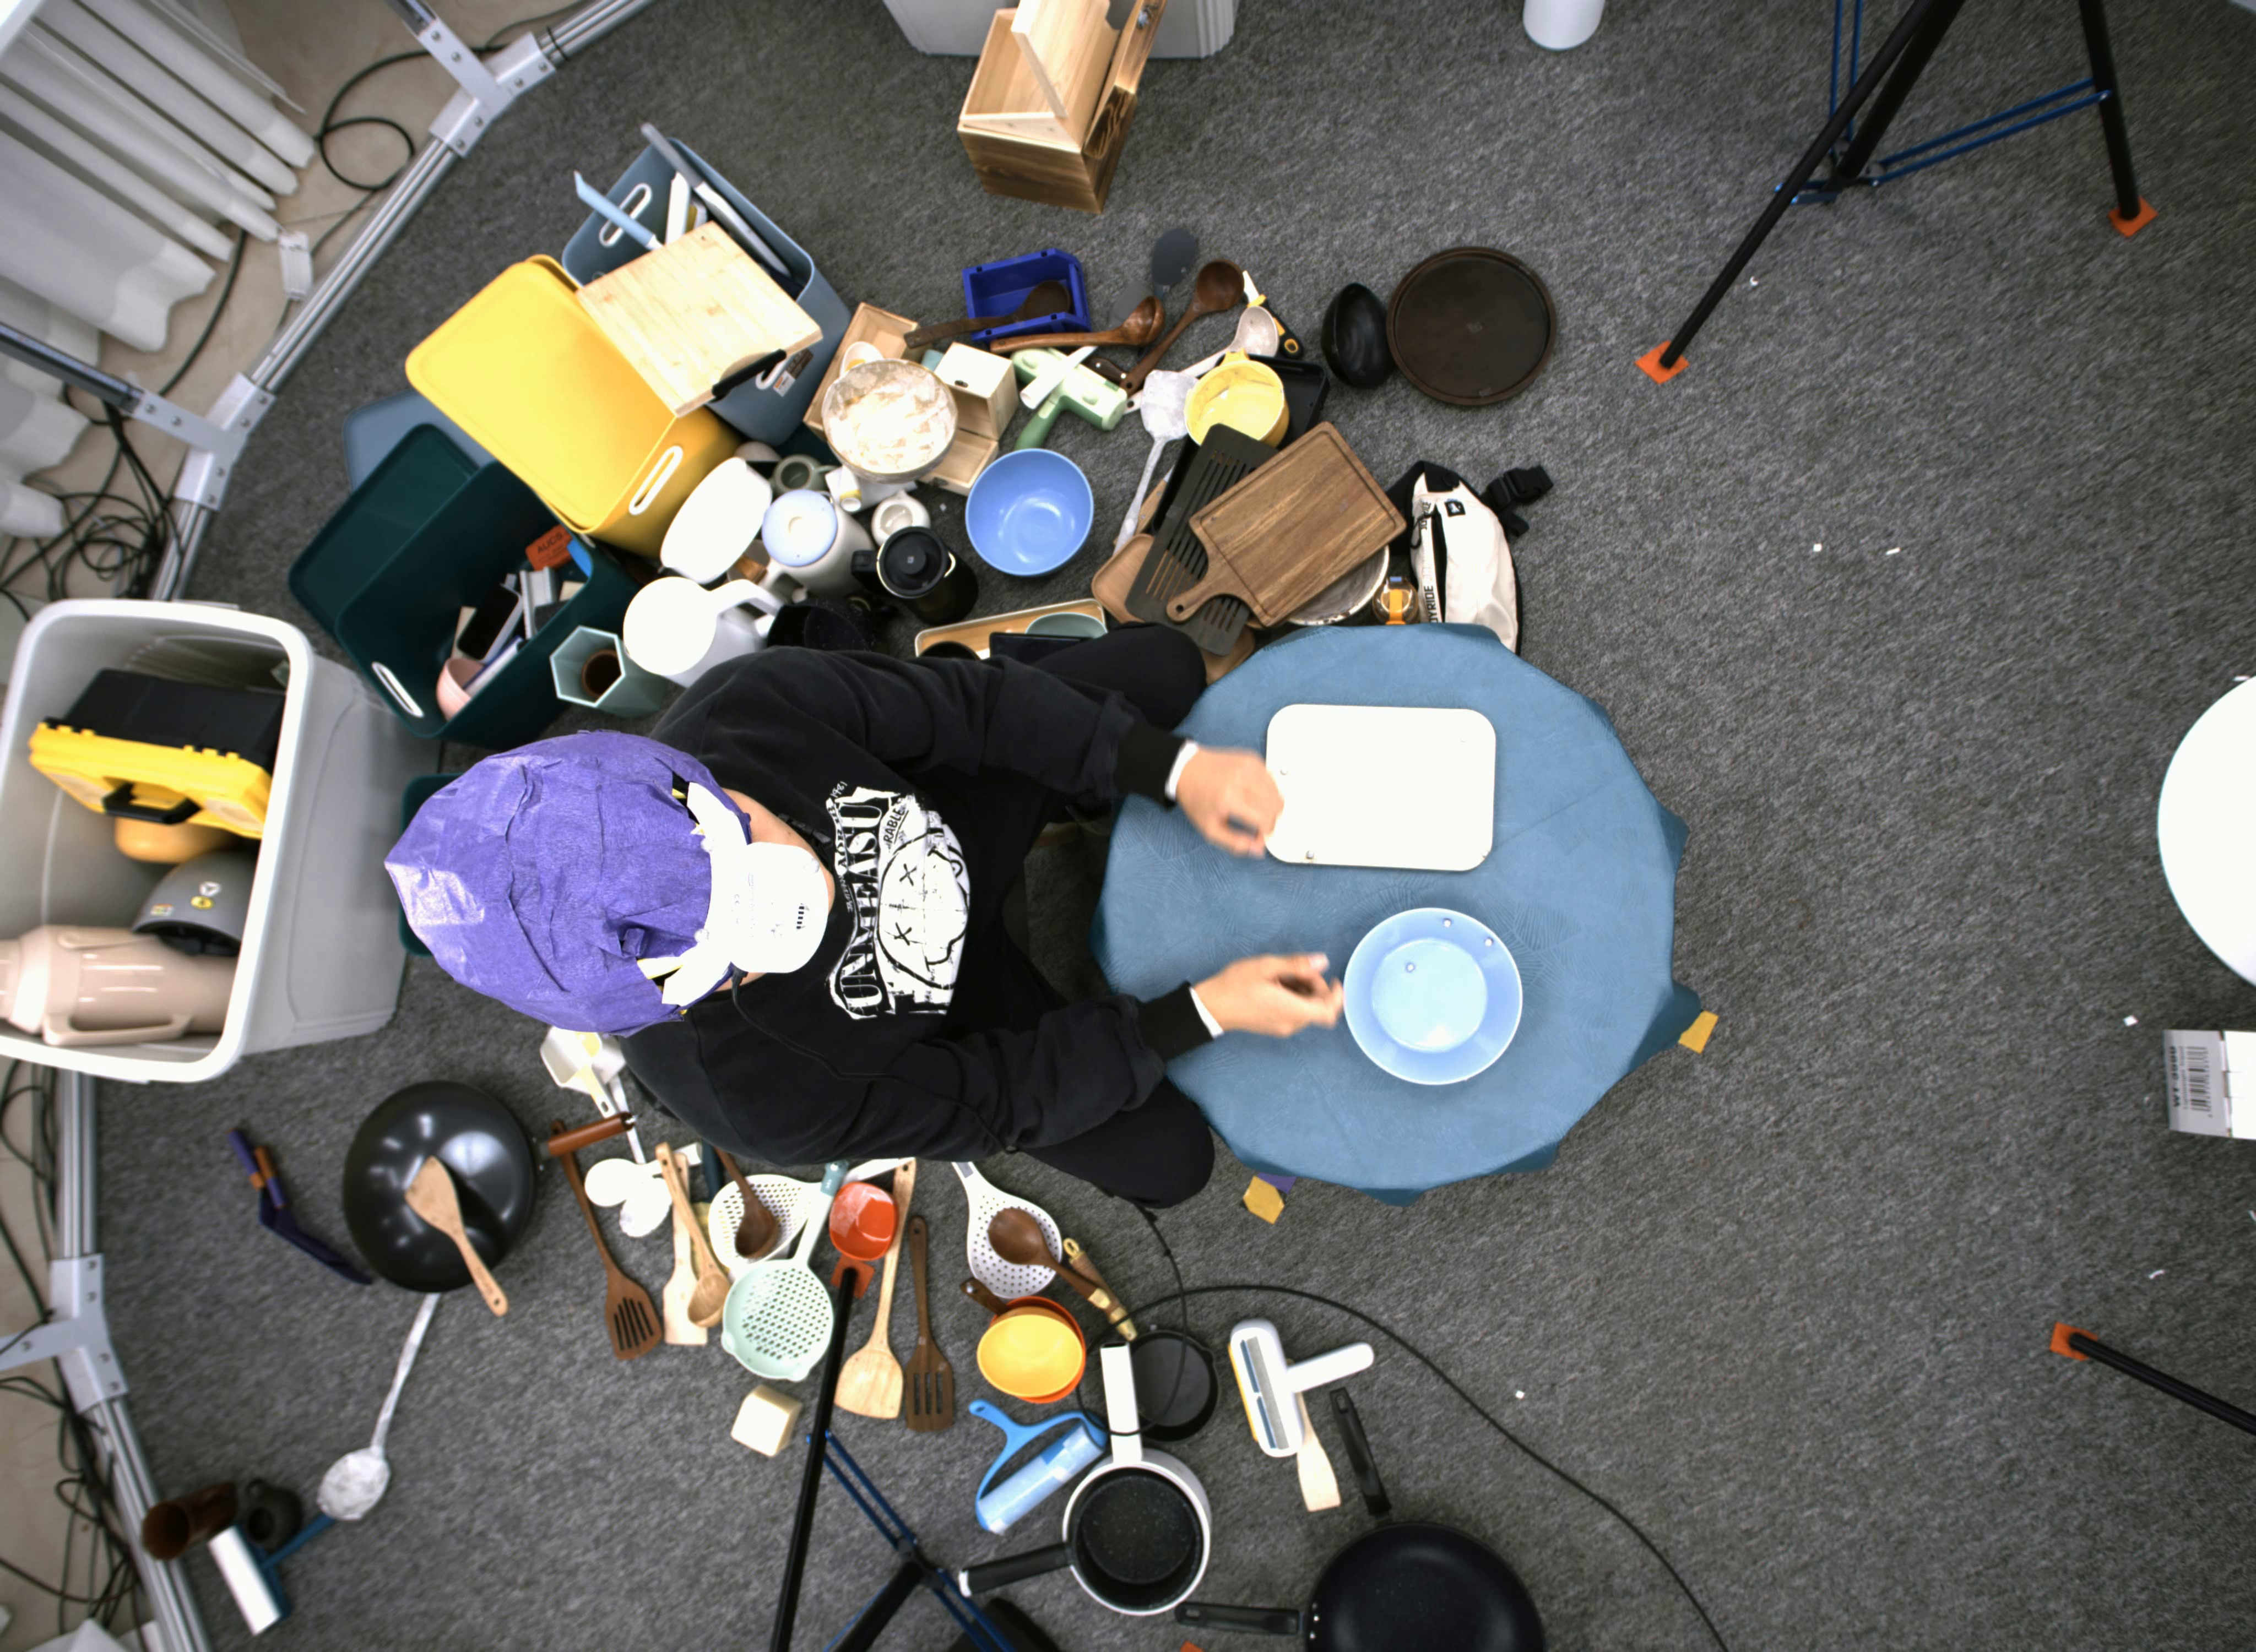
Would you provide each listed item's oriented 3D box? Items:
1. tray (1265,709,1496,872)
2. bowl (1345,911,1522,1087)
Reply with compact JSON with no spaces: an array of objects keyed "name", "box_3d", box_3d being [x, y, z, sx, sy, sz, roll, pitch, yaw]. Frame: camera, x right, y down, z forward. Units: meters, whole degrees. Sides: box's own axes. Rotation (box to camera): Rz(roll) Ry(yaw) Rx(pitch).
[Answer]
[{"name":"tray","box_3d":[0.267,-0.040,1.464,0.240,0.017,0.170,3,86,10]},{"name":"bowl","box_3d":[0.310,0.175,1.414,0.177,0.070,0.175,-1,85,9]}]
